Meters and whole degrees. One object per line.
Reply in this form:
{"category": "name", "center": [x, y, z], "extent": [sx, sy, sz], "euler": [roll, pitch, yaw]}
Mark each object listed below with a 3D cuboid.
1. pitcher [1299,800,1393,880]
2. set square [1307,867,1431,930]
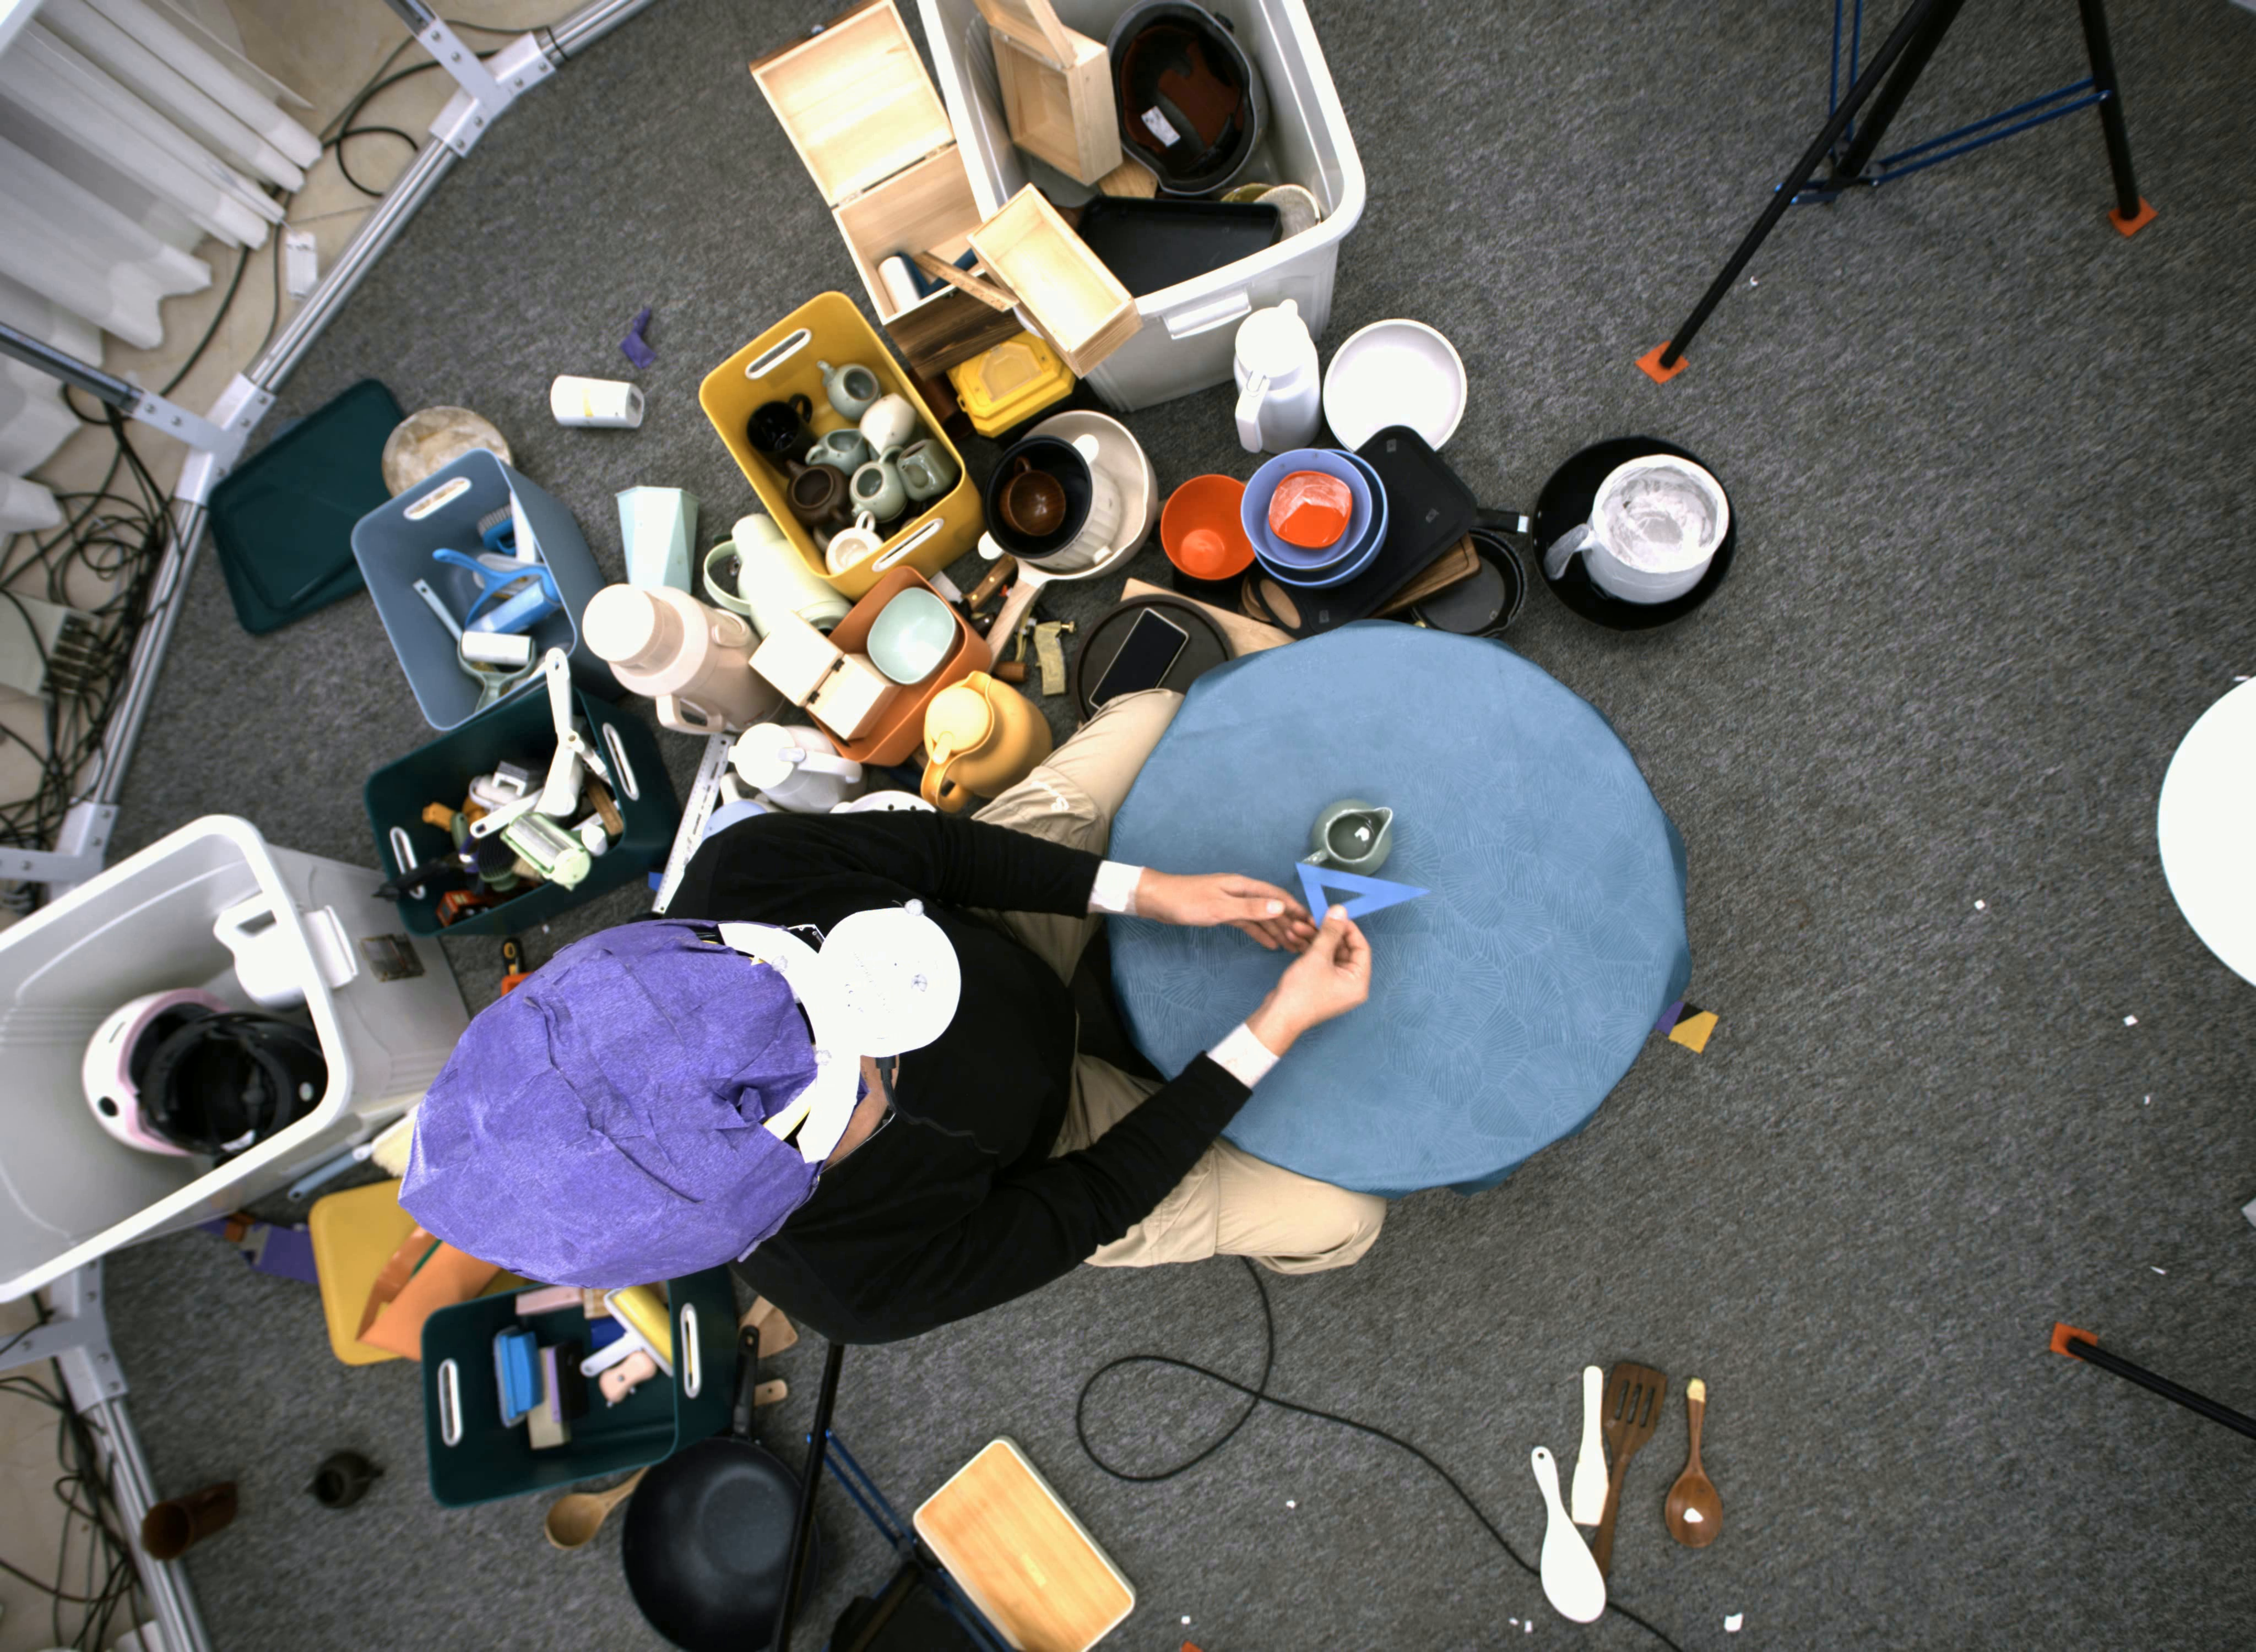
{"category": "pitcher", "center": [0.228, 0.016, 1.443], "extent": [0.113, 0.056, 0.083], "euler": [-35, 78, 6]}
{"category": "set square", "center": [0.236, 0.084, 1.390], "extent": [0.132, 0.006, 0.061], "euler": [16, 88, 3]}
